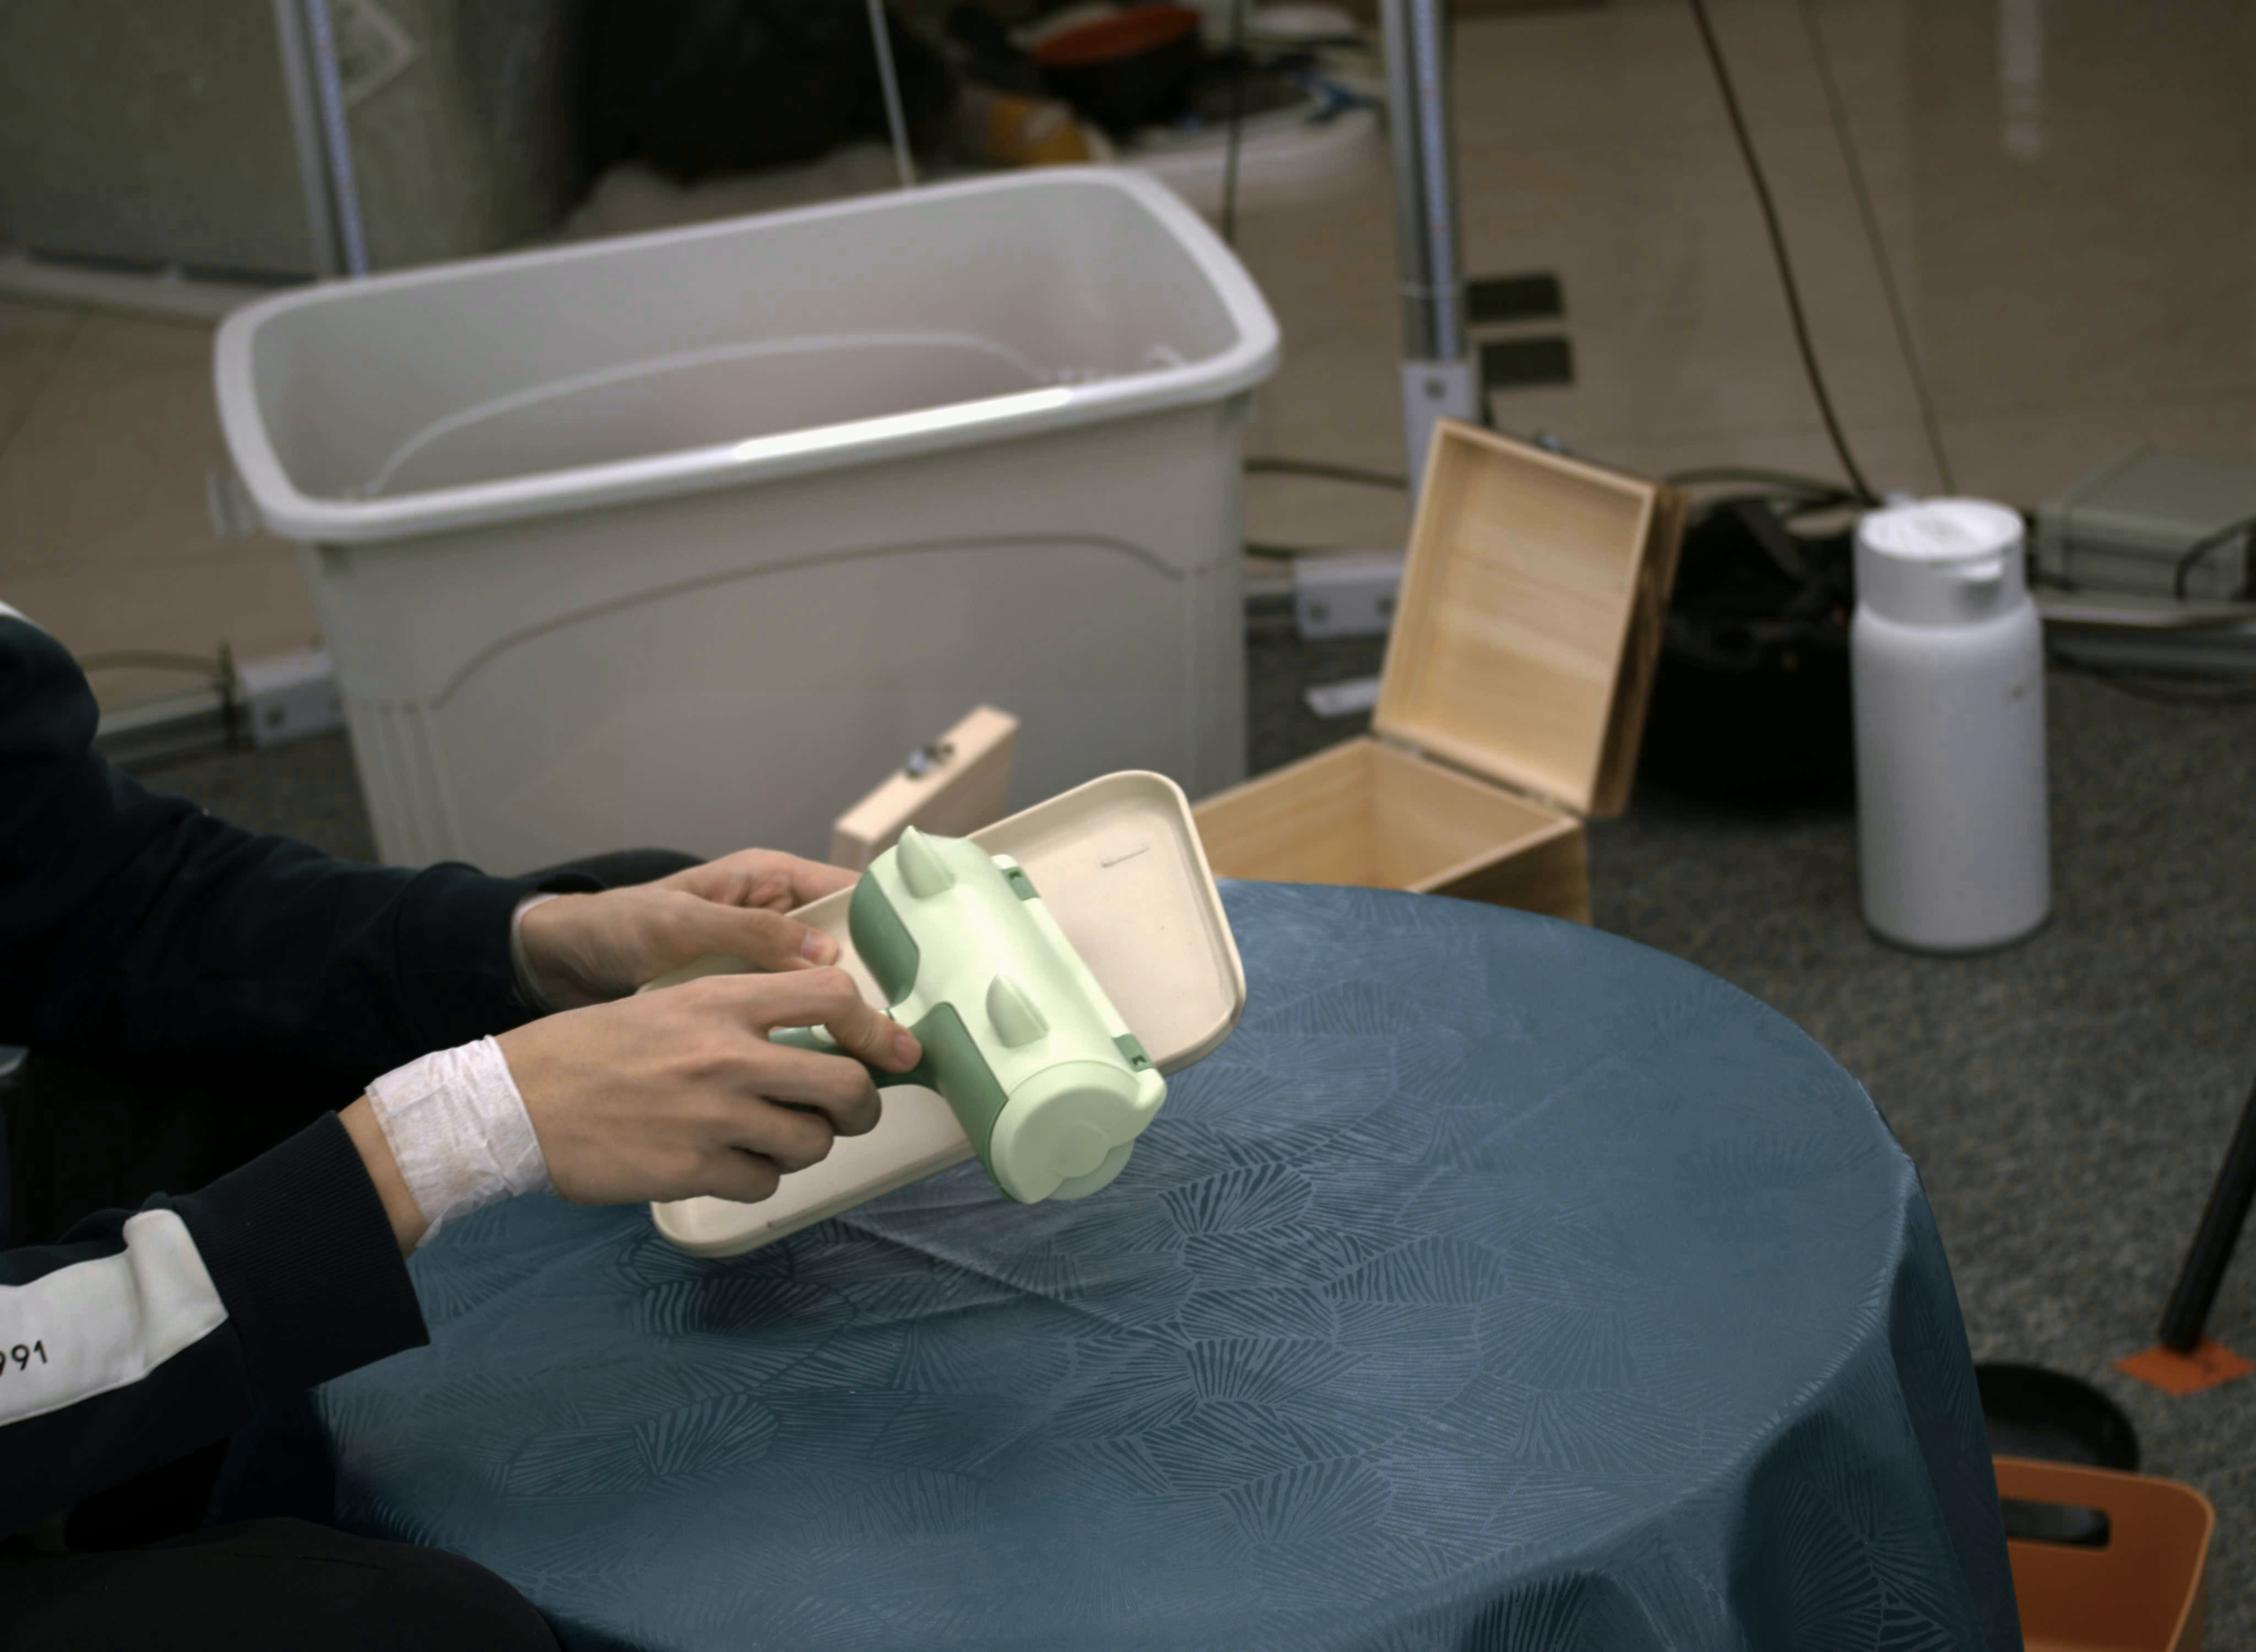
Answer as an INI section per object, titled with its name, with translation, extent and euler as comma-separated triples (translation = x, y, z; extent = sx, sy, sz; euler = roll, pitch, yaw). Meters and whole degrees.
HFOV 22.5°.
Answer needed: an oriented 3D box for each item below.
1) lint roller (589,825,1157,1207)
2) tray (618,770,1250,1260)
[lint roller]
translation = -0.104, 0.069, 2.010
extent = 0.183, 0.083, 0.195
euler = -9, 30, -15
[tray]
translation = -0.074, 0.072, 2.132
extent = 0.239, 0.018, 0.168
euler = -24, 39, 5
